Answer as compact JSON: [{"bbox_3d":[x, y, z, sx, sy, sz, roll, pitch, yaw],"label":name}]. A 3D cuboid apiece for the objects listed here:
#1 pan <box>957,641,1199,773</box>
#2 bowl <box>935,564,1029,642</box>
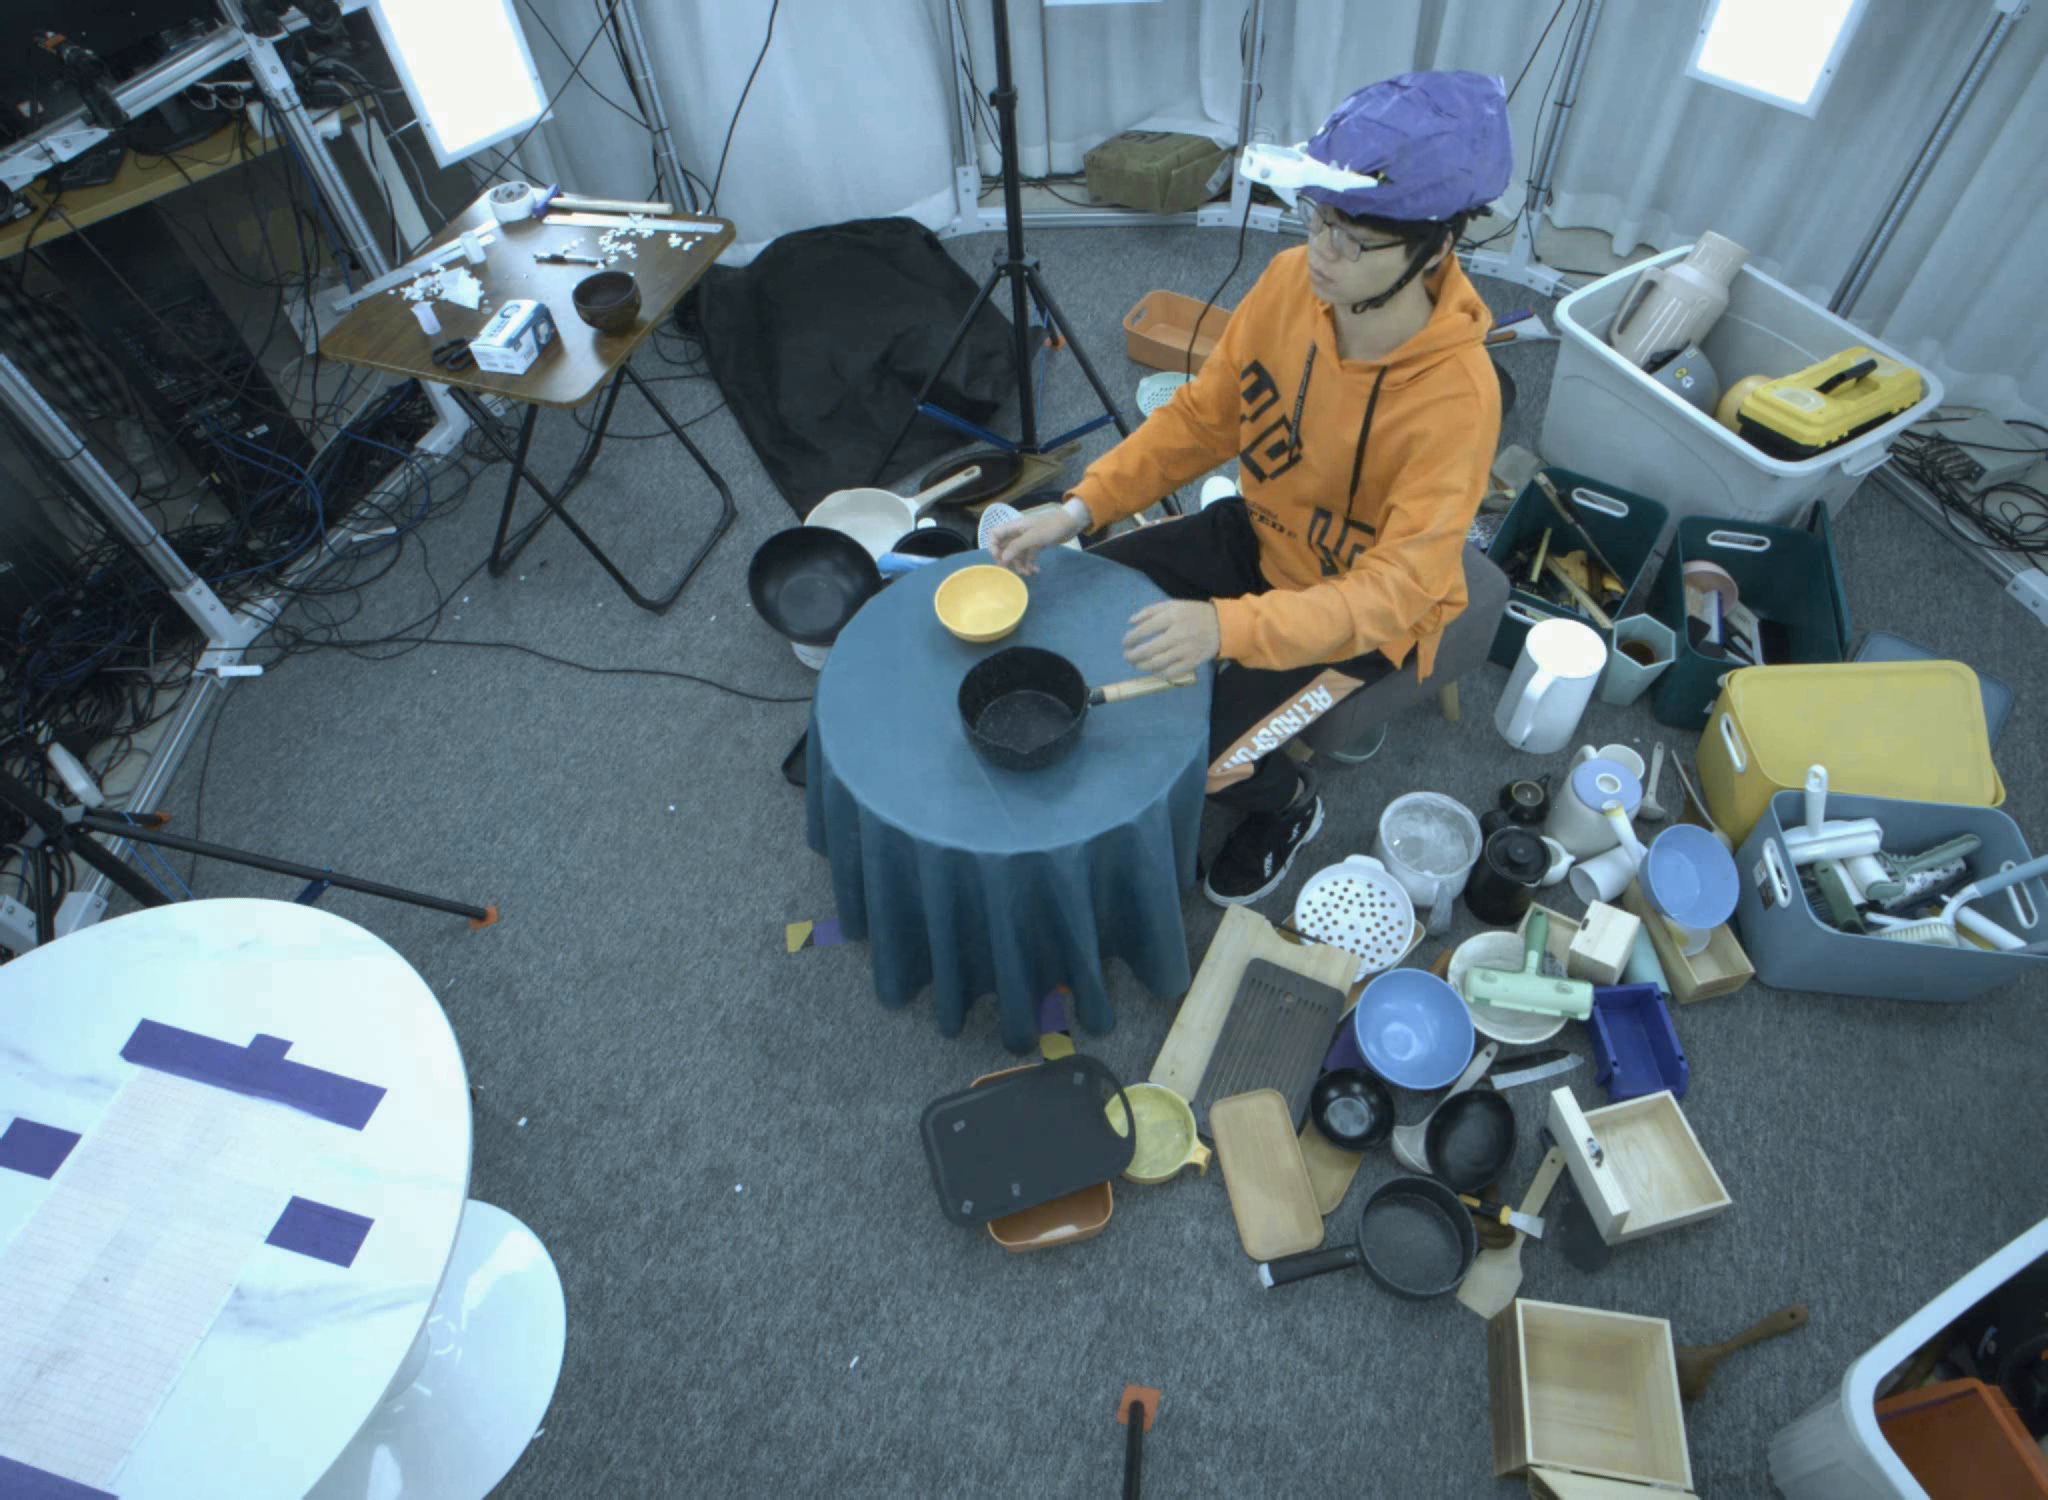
[{"bbox_3d":[0.078,-0.067,1.765,0.343,0.109,0.205,-6,53,0],"label":"pan"},{"bbox_3d":[-0.064,-0.217,1.907,0.145,0.061,0.144,0,55,1],"label":"bowl"}]
